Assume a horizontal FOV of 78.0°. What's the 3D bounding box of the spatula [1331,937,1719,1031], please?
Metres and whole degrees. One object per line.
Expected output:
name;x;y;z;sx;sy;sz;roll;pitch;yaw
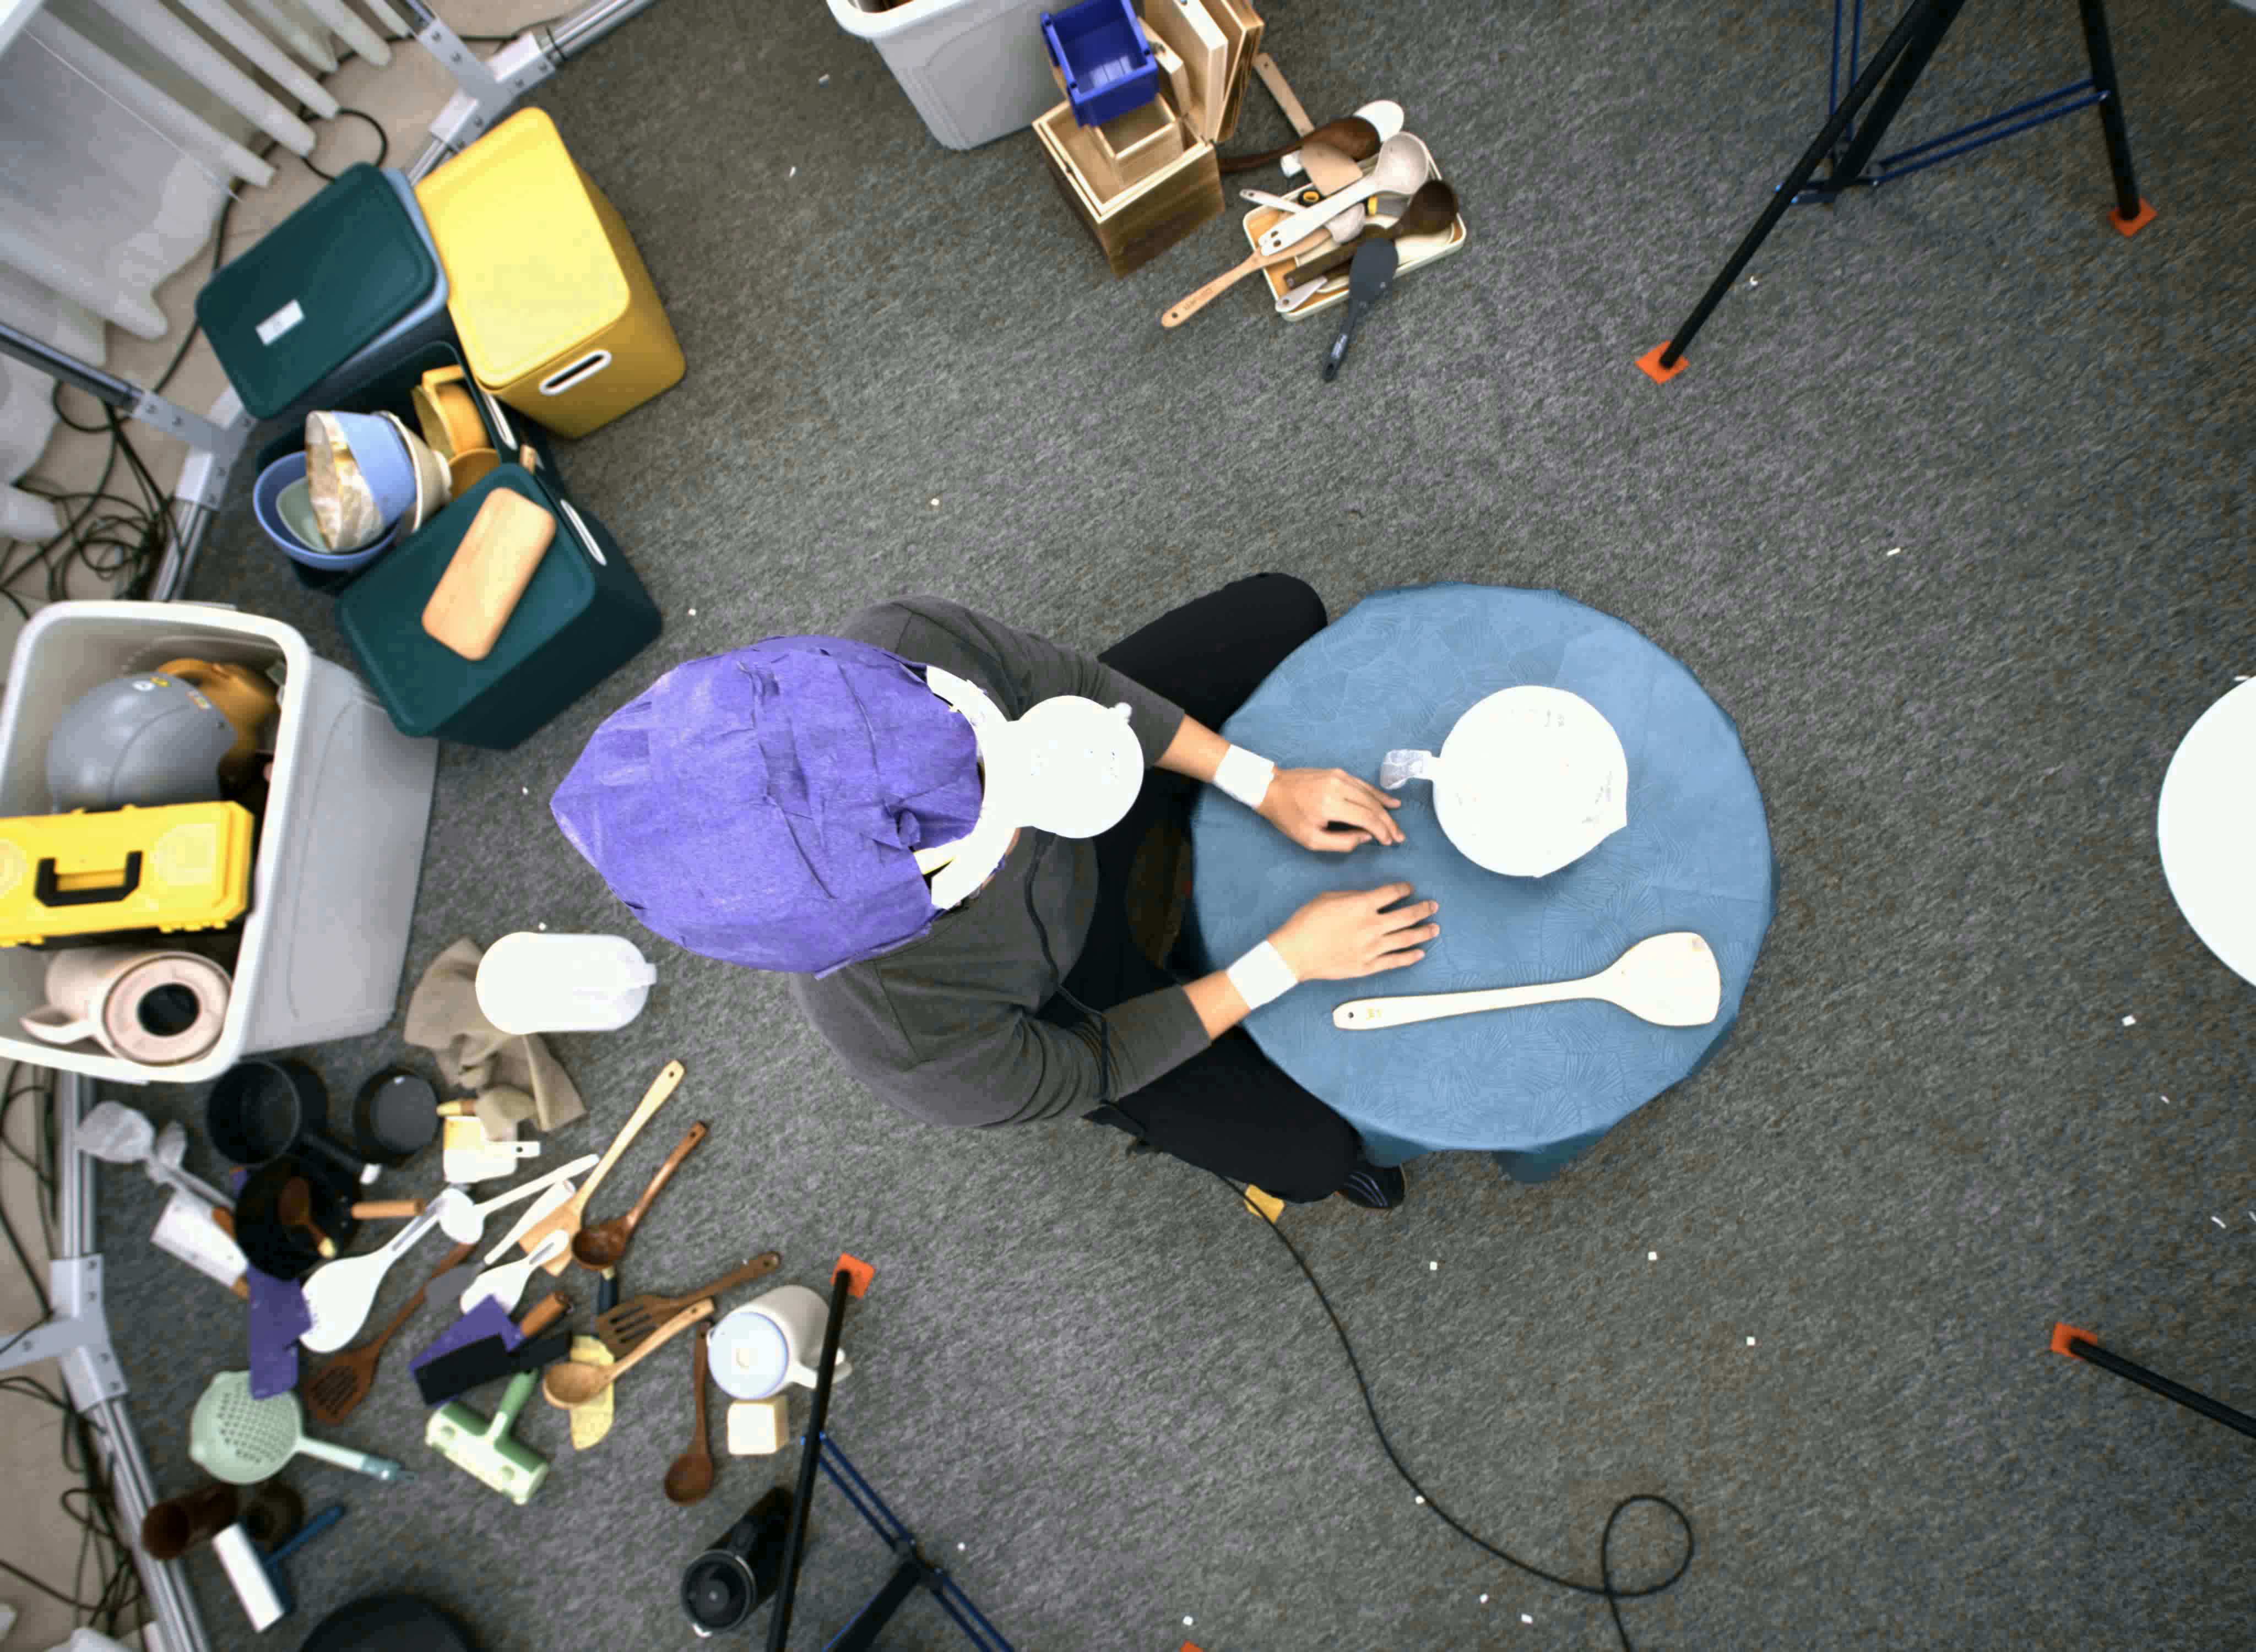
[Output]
spatula;0.405;0.179;1.419;0.392;0.018;0.095;-8;84;10

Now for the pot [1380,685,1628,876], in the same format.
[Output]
pot;0.371;-0.046;1.378;0.234;0.137;0.178;8;87;11
